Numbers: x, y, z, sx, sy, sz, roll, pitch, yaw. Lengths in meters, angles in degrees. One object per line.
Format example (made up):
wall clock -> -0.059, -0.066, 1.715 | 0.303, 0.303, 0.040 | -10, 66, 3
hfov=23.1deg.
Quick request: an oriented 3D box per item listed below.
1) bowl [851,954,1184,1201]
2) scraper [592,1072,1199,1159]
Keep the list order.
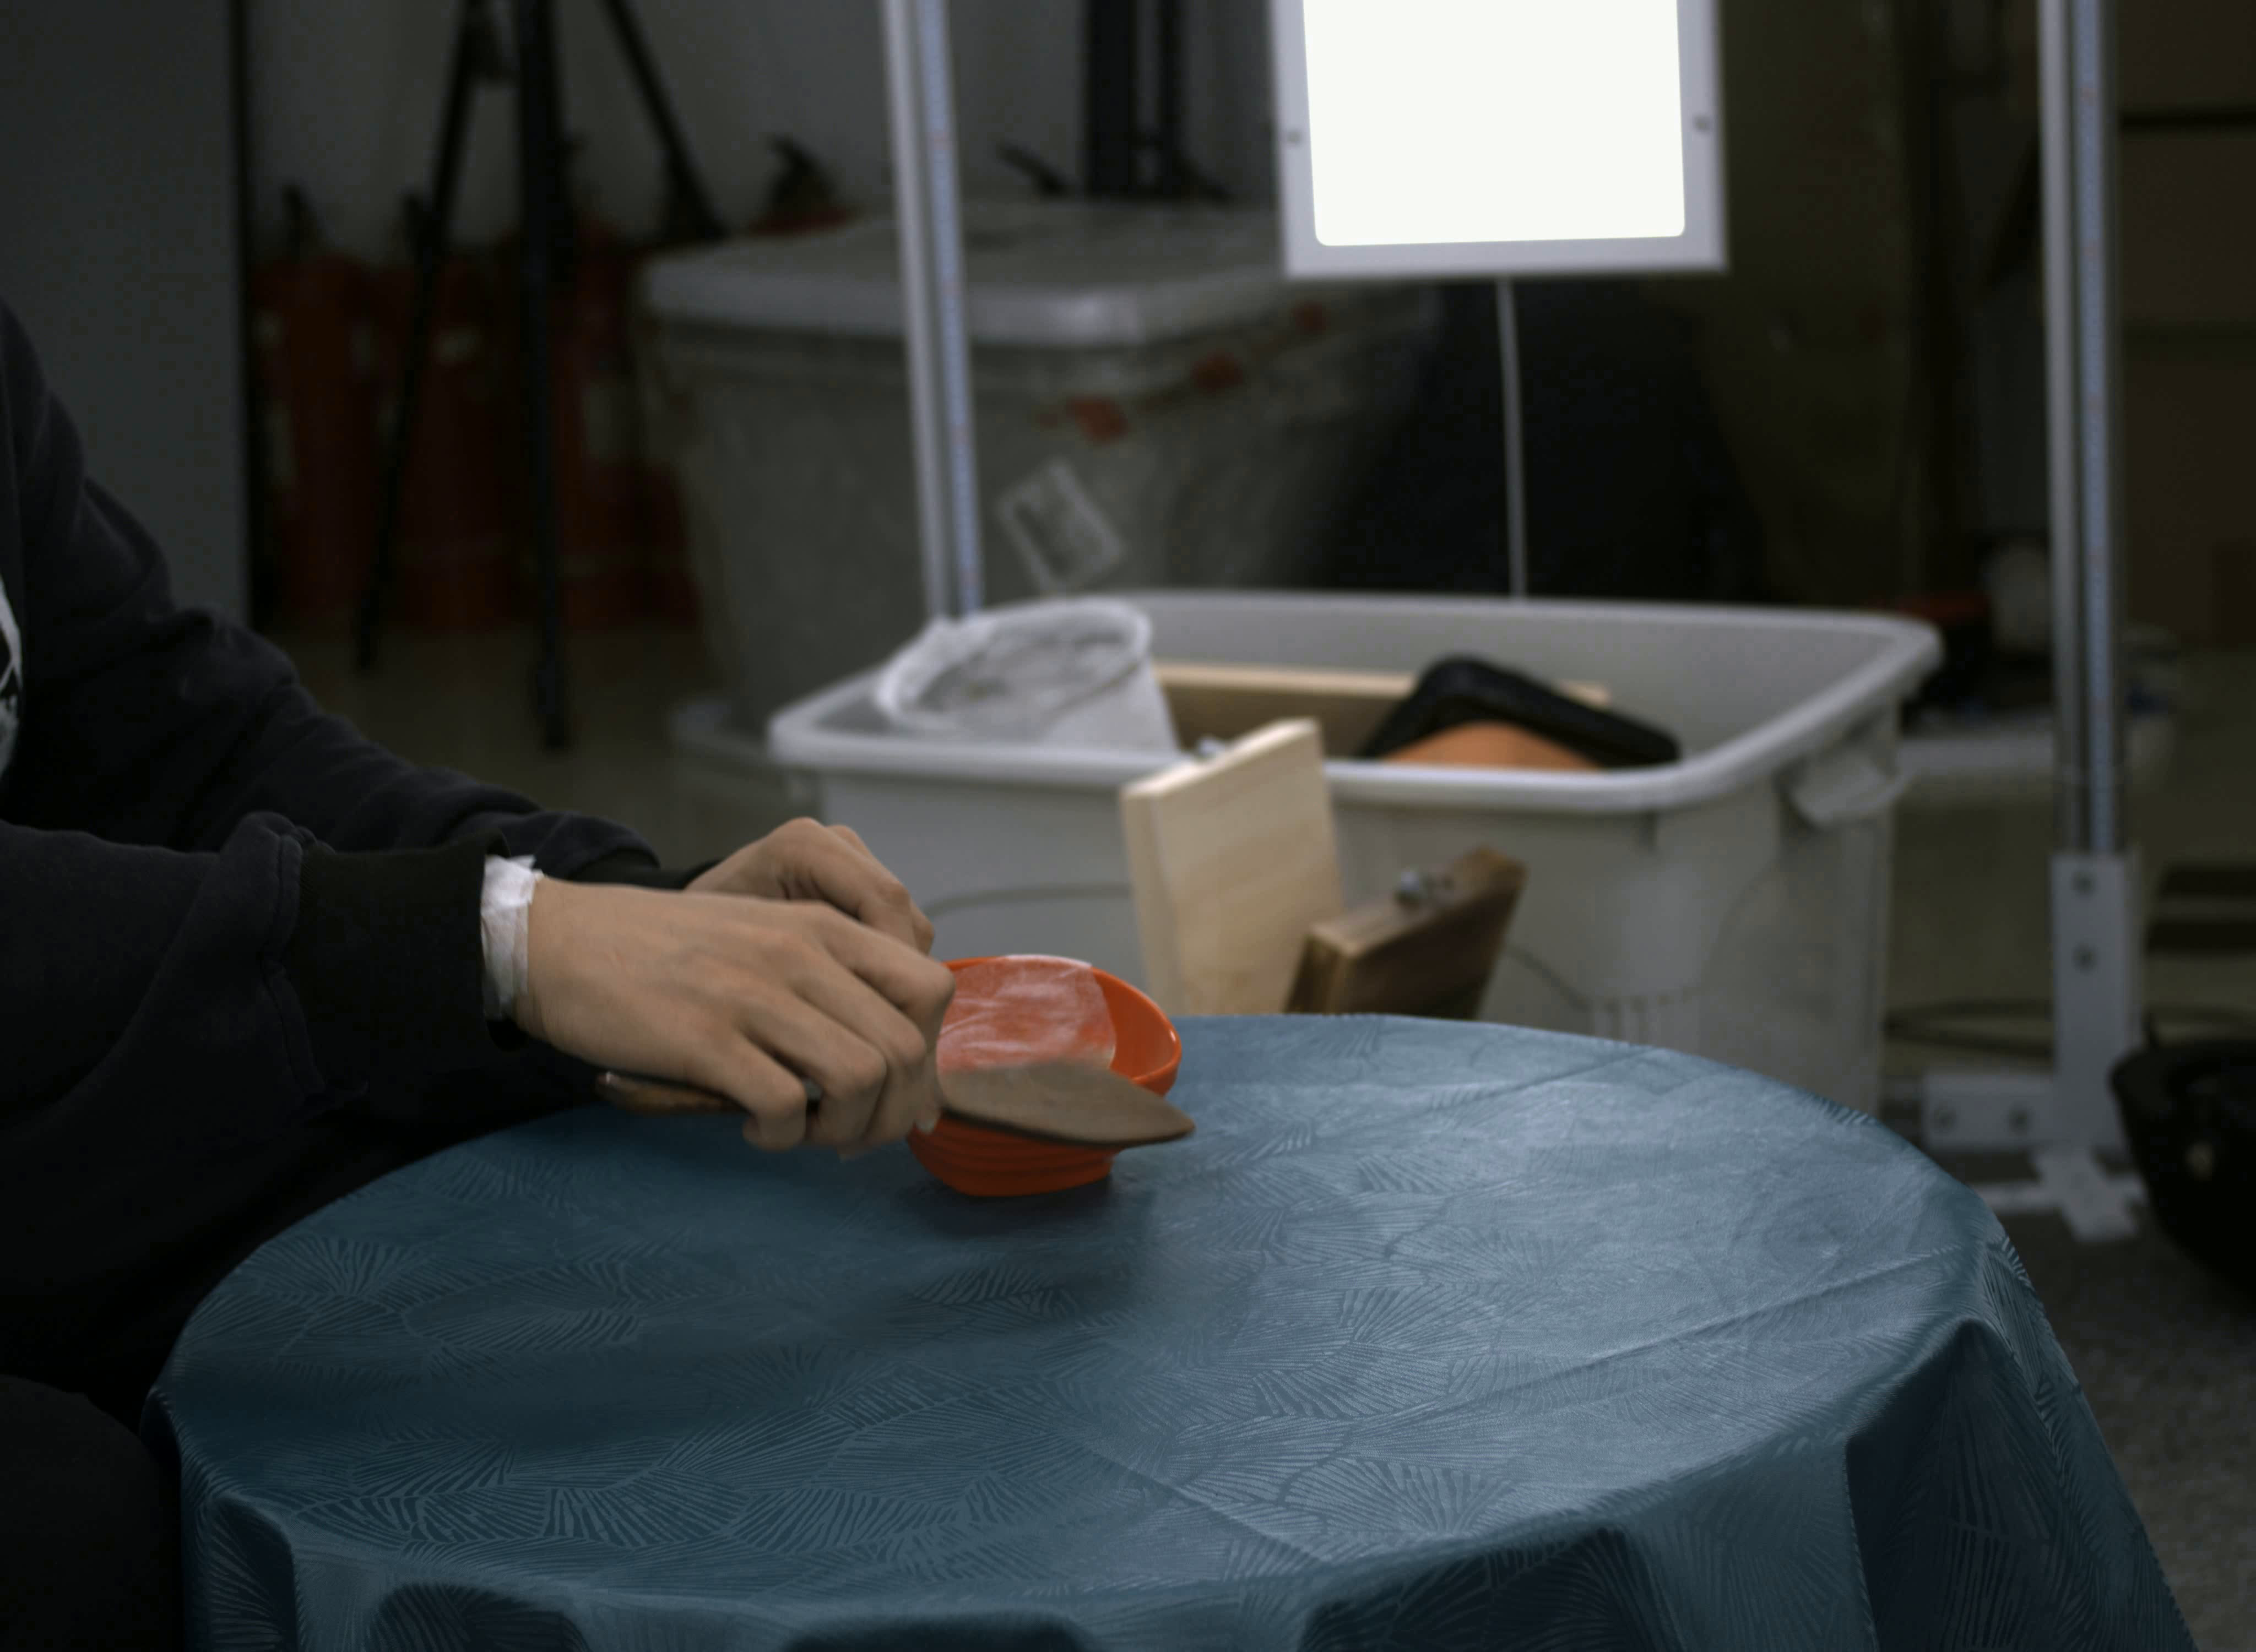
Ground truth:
bowl -> -0.040, 0.092, 1.921 | 0.118, 0.052, 0.118 | 4, 25, -3
scraper -> -0.076, 0.090, 1.753 | 0.206, 0.011, 0.077 | 4, 13, -35
